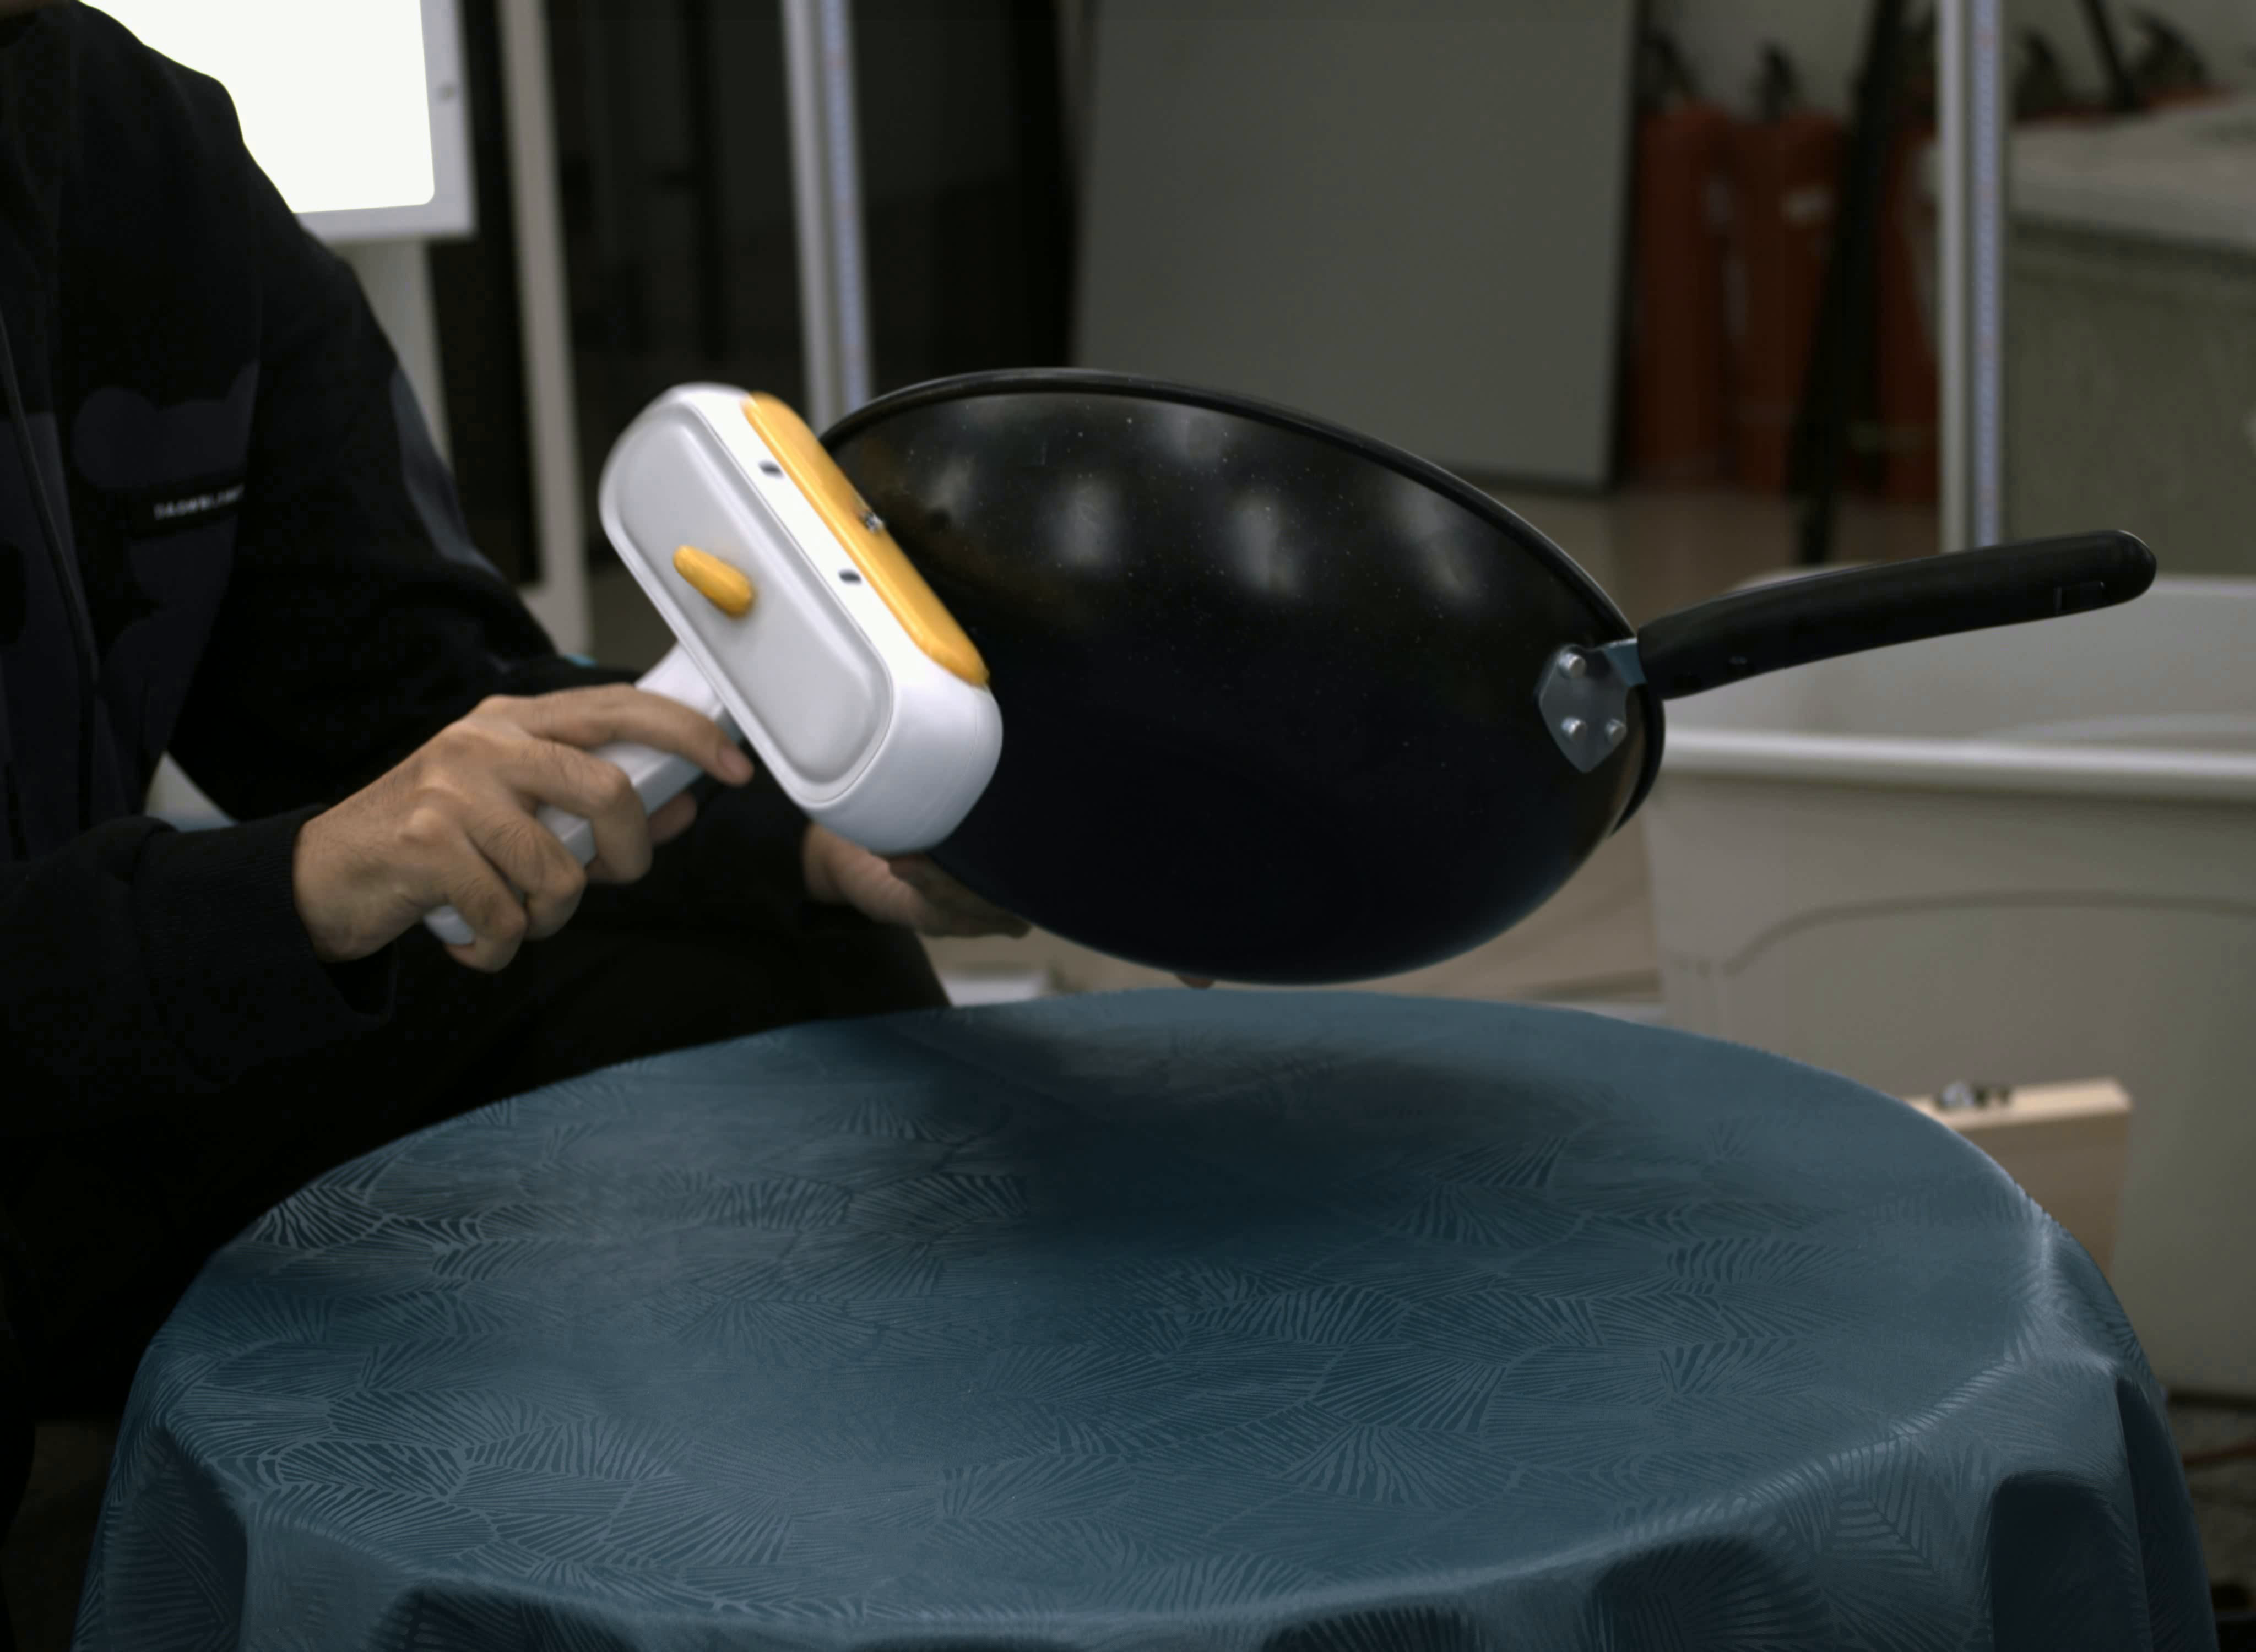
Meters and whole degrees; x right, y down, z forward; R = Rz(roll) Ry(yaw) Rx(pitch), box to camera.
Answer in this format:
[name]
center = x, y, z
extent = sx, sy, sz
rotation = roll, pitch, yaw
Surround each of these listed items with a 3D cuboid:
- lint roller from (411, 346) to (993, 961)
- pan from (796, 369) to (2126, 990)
[lint roller]
center = -0.150, -0.035, 1.716
extent = 0.195, 0.193, 0.073
rotation = 46, 13, 34
[pan]
center = 0.087, -0.038, 1.743
extent = 0.478, 0.112, 0.307
rotation = -1, -32, 30
